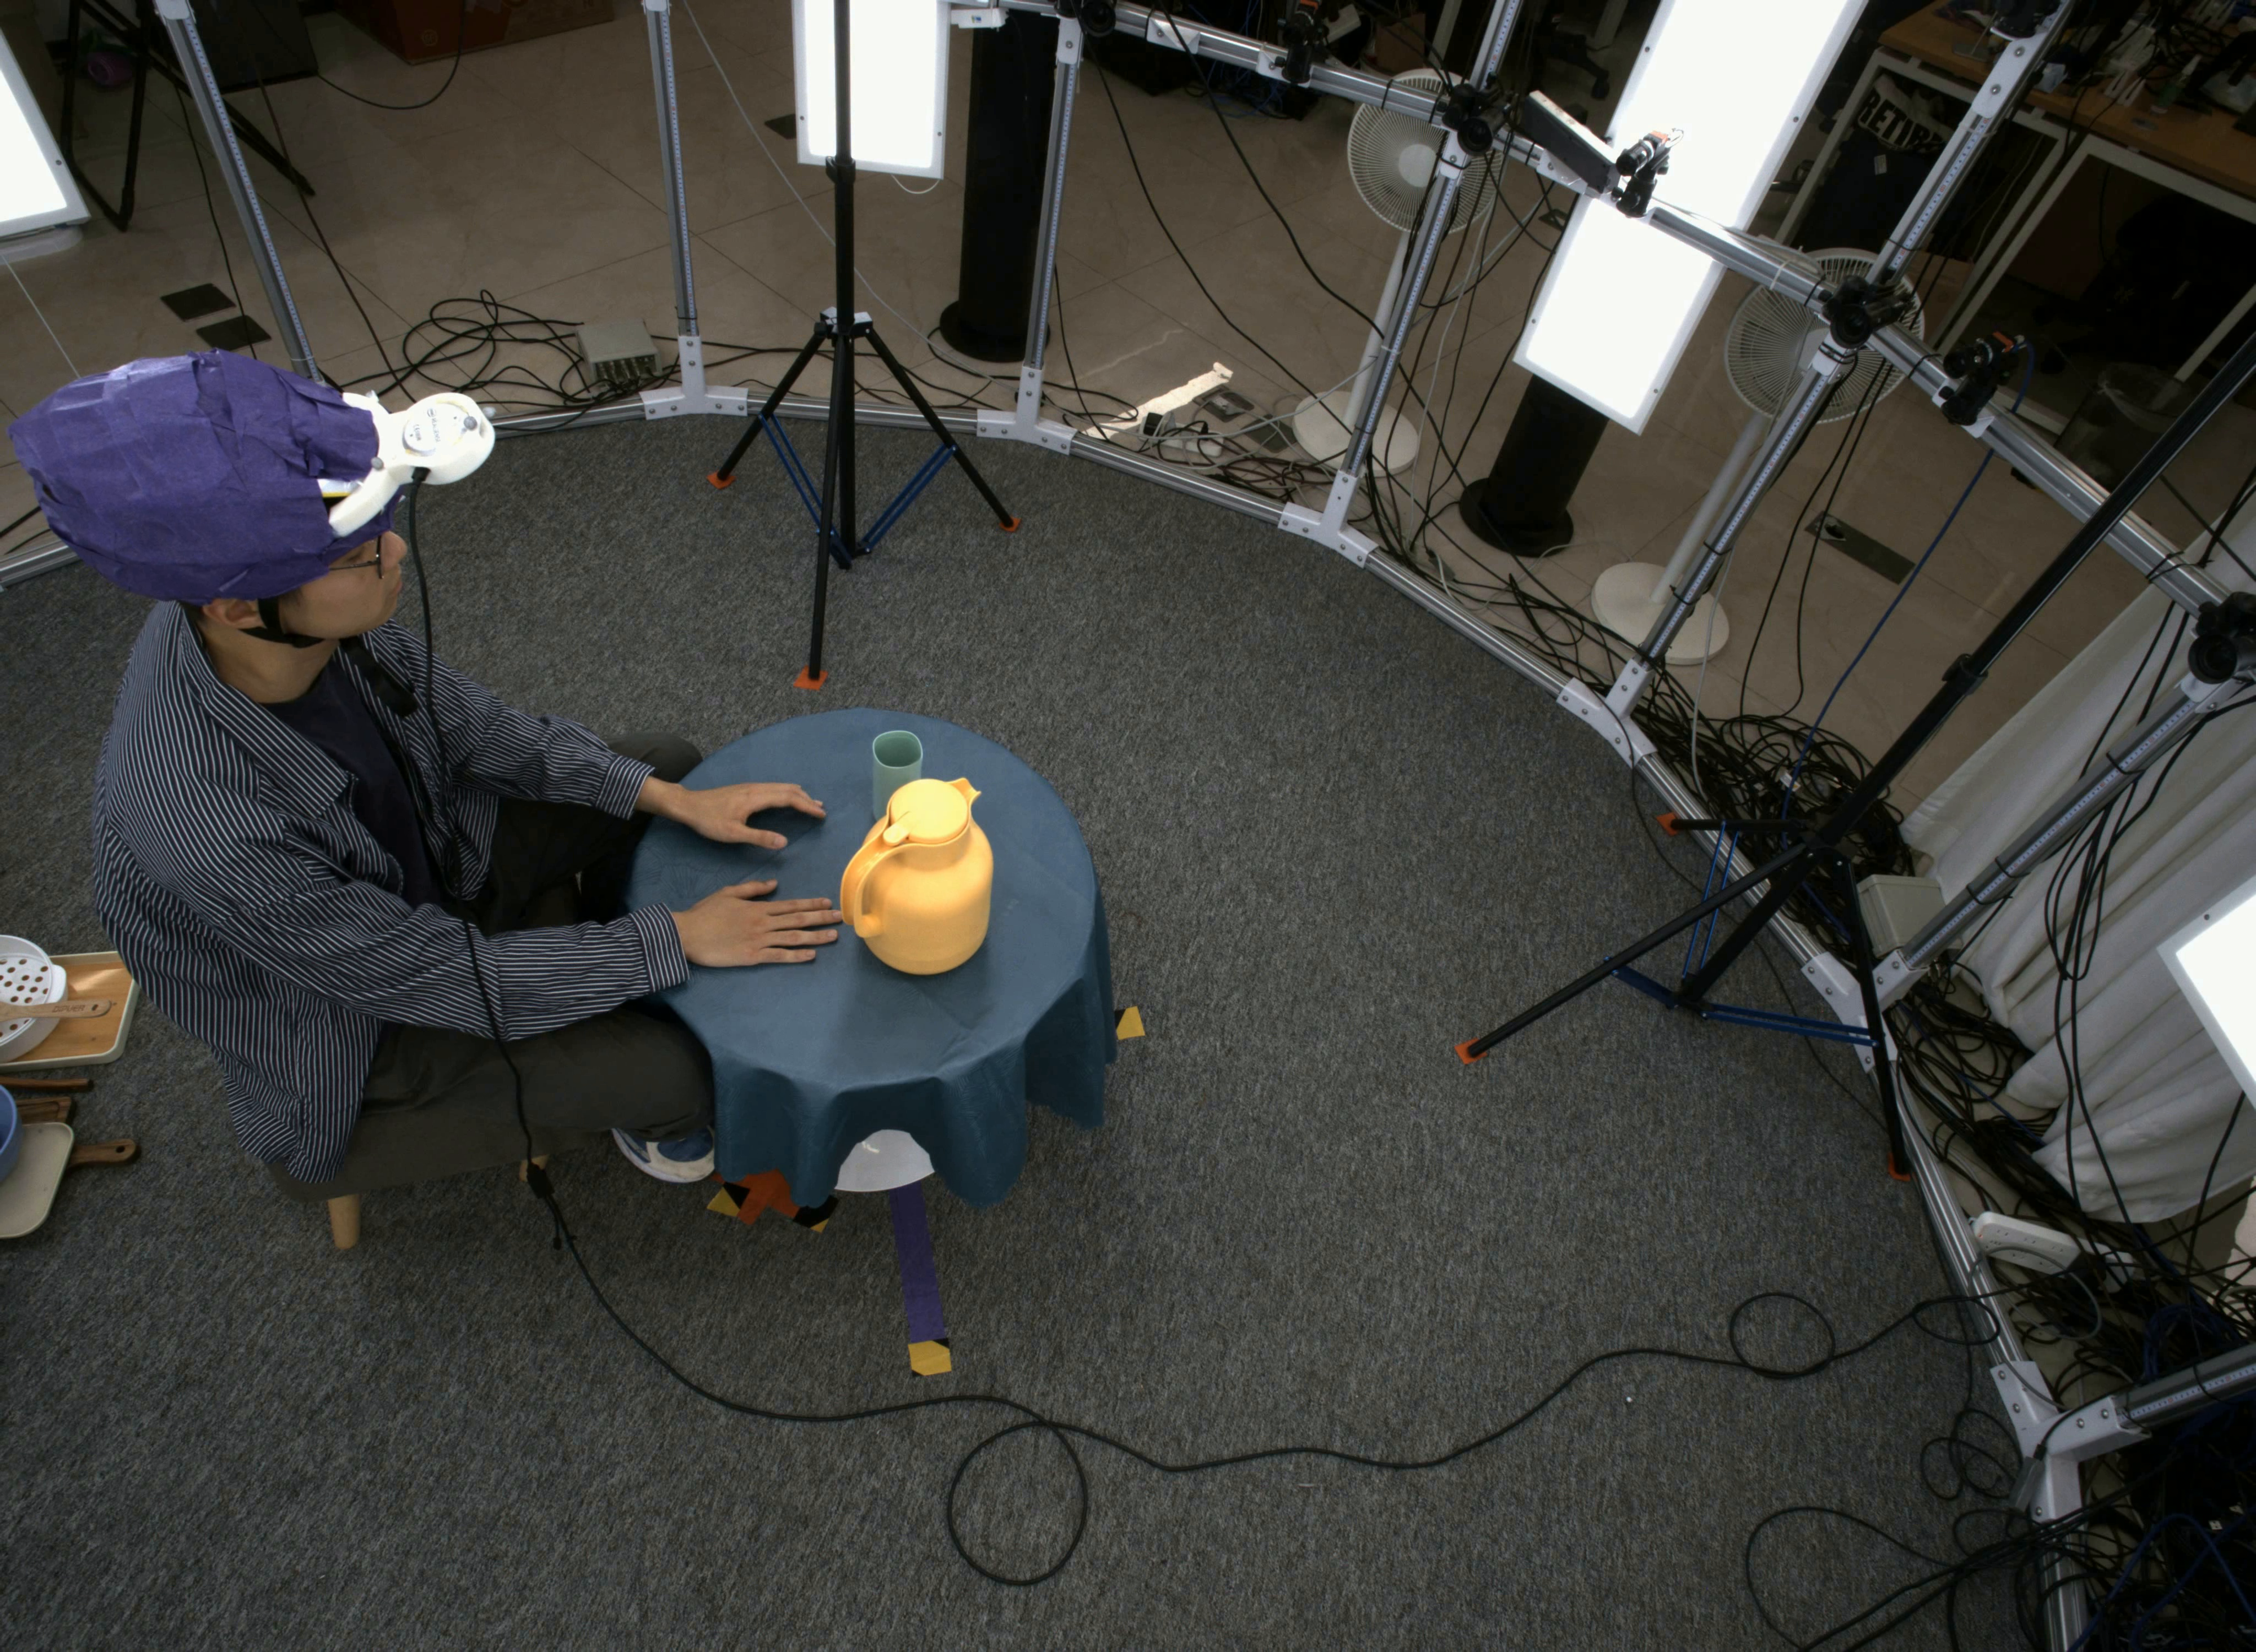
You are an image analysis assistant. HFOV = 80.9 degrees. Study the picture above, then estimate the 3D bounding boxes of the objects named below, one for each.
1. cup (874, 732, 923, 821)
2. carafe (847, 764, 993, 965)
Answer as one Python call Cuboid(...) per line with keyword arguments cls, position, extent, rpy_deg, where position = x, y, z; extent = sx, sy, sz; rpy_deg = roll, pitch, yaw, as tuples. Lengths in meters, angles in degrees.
Cuboid(cls="cup", position=(-0.308, -0.058, 1.732), extent=(0.066, 0.135, 0.065), rpy_deg=(6, 52, -6))
Cuboid(cls="carafe", position=(-0.258, 0.051, 1.575), extent=(0.159, 0.266, 0.202), rpy_deg=(37, 55, 19))
